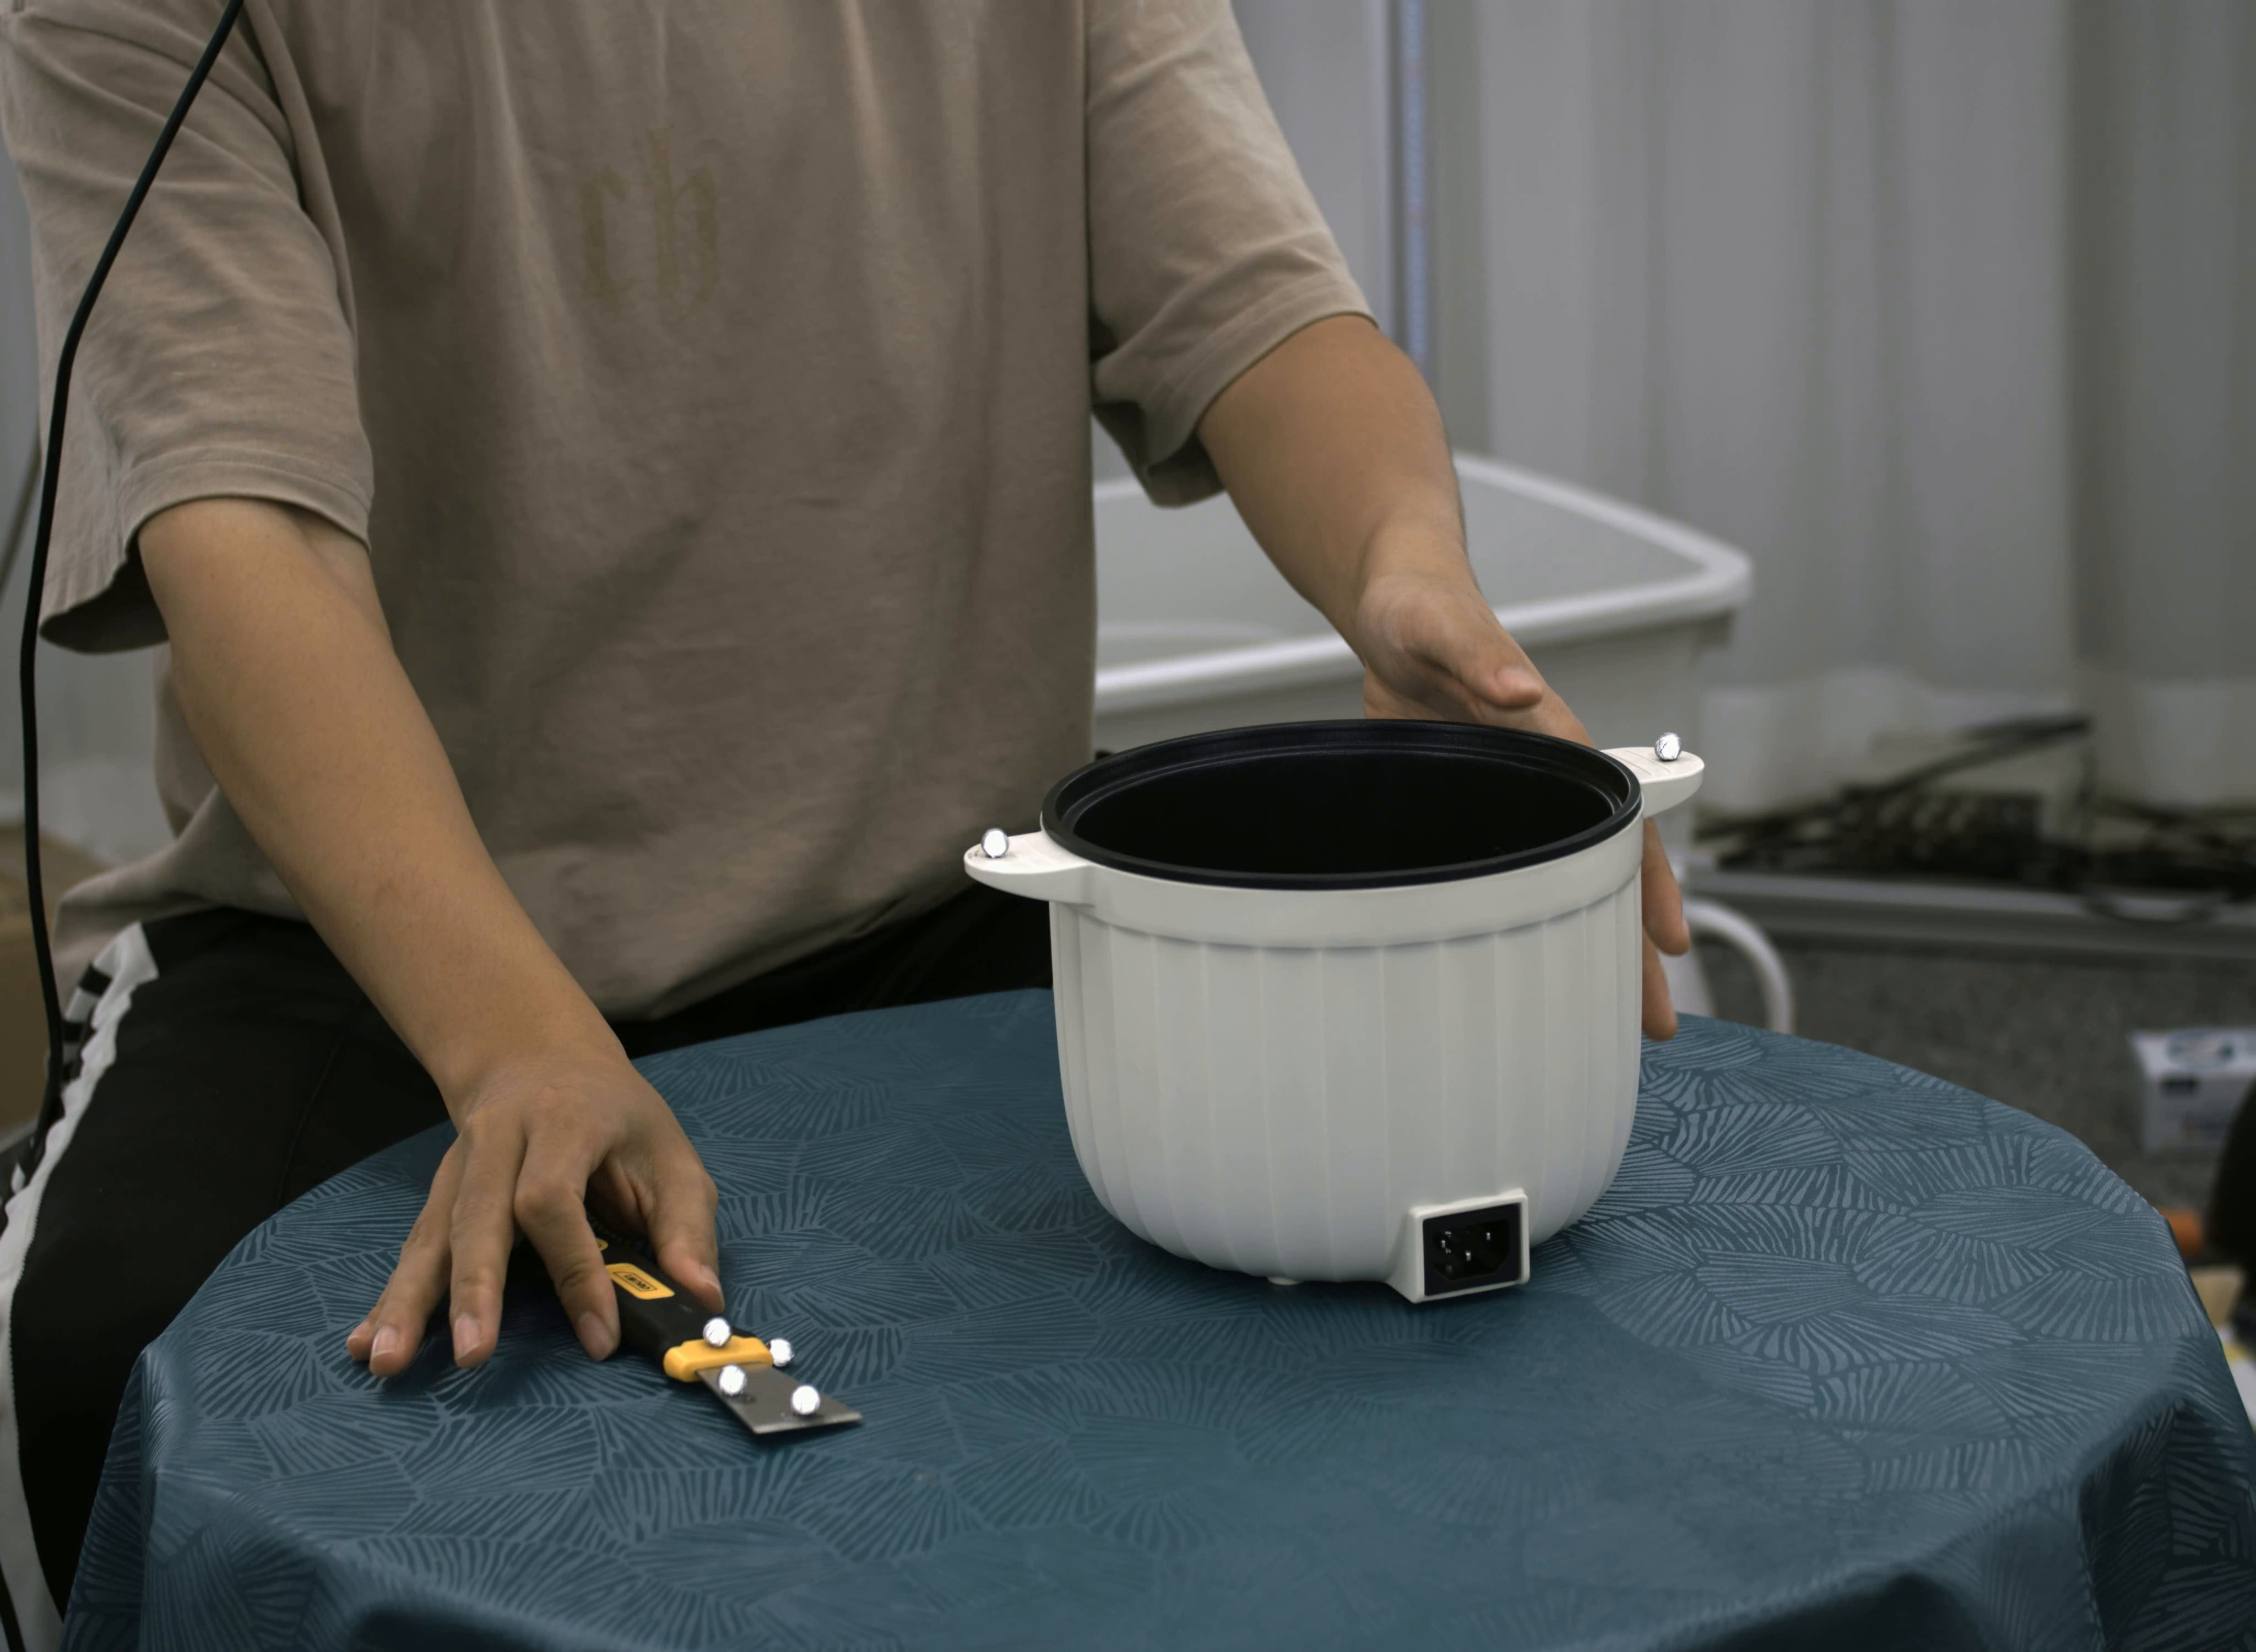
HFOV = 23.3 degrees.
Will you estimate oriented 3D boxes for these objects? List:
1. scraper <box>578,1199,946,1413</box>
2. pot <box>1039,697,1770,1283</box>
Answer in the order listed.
[{"bbox_3d":[-0.112,0.139,1.588,0.038,0.015,0.172,-8,19,-32],"label":"scraper"},{"bbox_3d":[0.085,0.047,1.668,0.239,0.142,0.192,-7,18,-21],"label":"pot"}]
